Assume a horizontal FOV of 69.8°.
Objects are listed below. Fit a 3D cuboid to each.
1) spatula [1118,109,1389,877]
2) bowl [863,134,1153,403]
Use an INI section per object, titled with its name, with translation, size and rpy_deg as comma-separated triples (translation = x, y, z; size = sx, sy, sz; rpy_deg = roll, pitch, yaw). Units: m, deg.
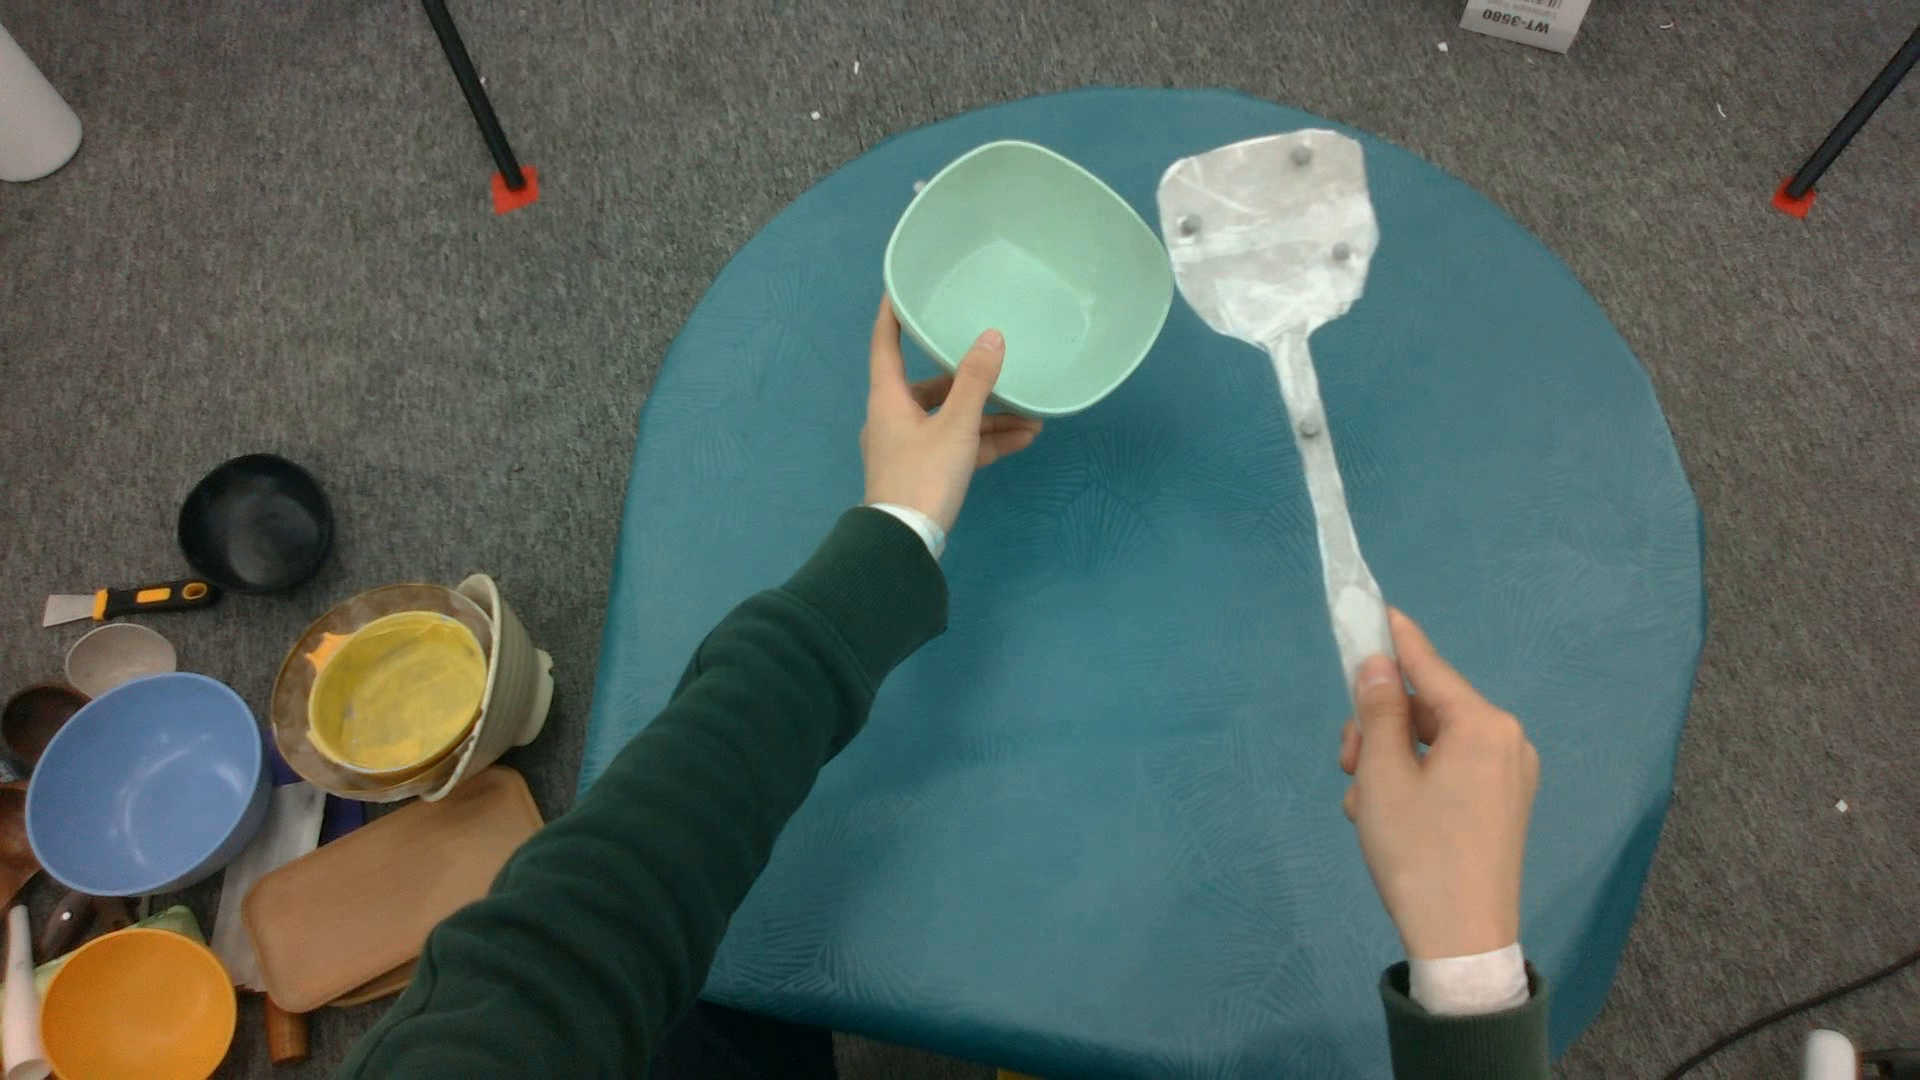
[spatula]
translation = 0.140, -0.040, 0.597
size = 0.098, 0.044, 0.366
rpy_deg = -8, 60, 4
[bowl]
translation = 0.020, -0.131, 0.713
size = 0.151, 0.058, 0.152
rpy_deg = 5, 68, -13
